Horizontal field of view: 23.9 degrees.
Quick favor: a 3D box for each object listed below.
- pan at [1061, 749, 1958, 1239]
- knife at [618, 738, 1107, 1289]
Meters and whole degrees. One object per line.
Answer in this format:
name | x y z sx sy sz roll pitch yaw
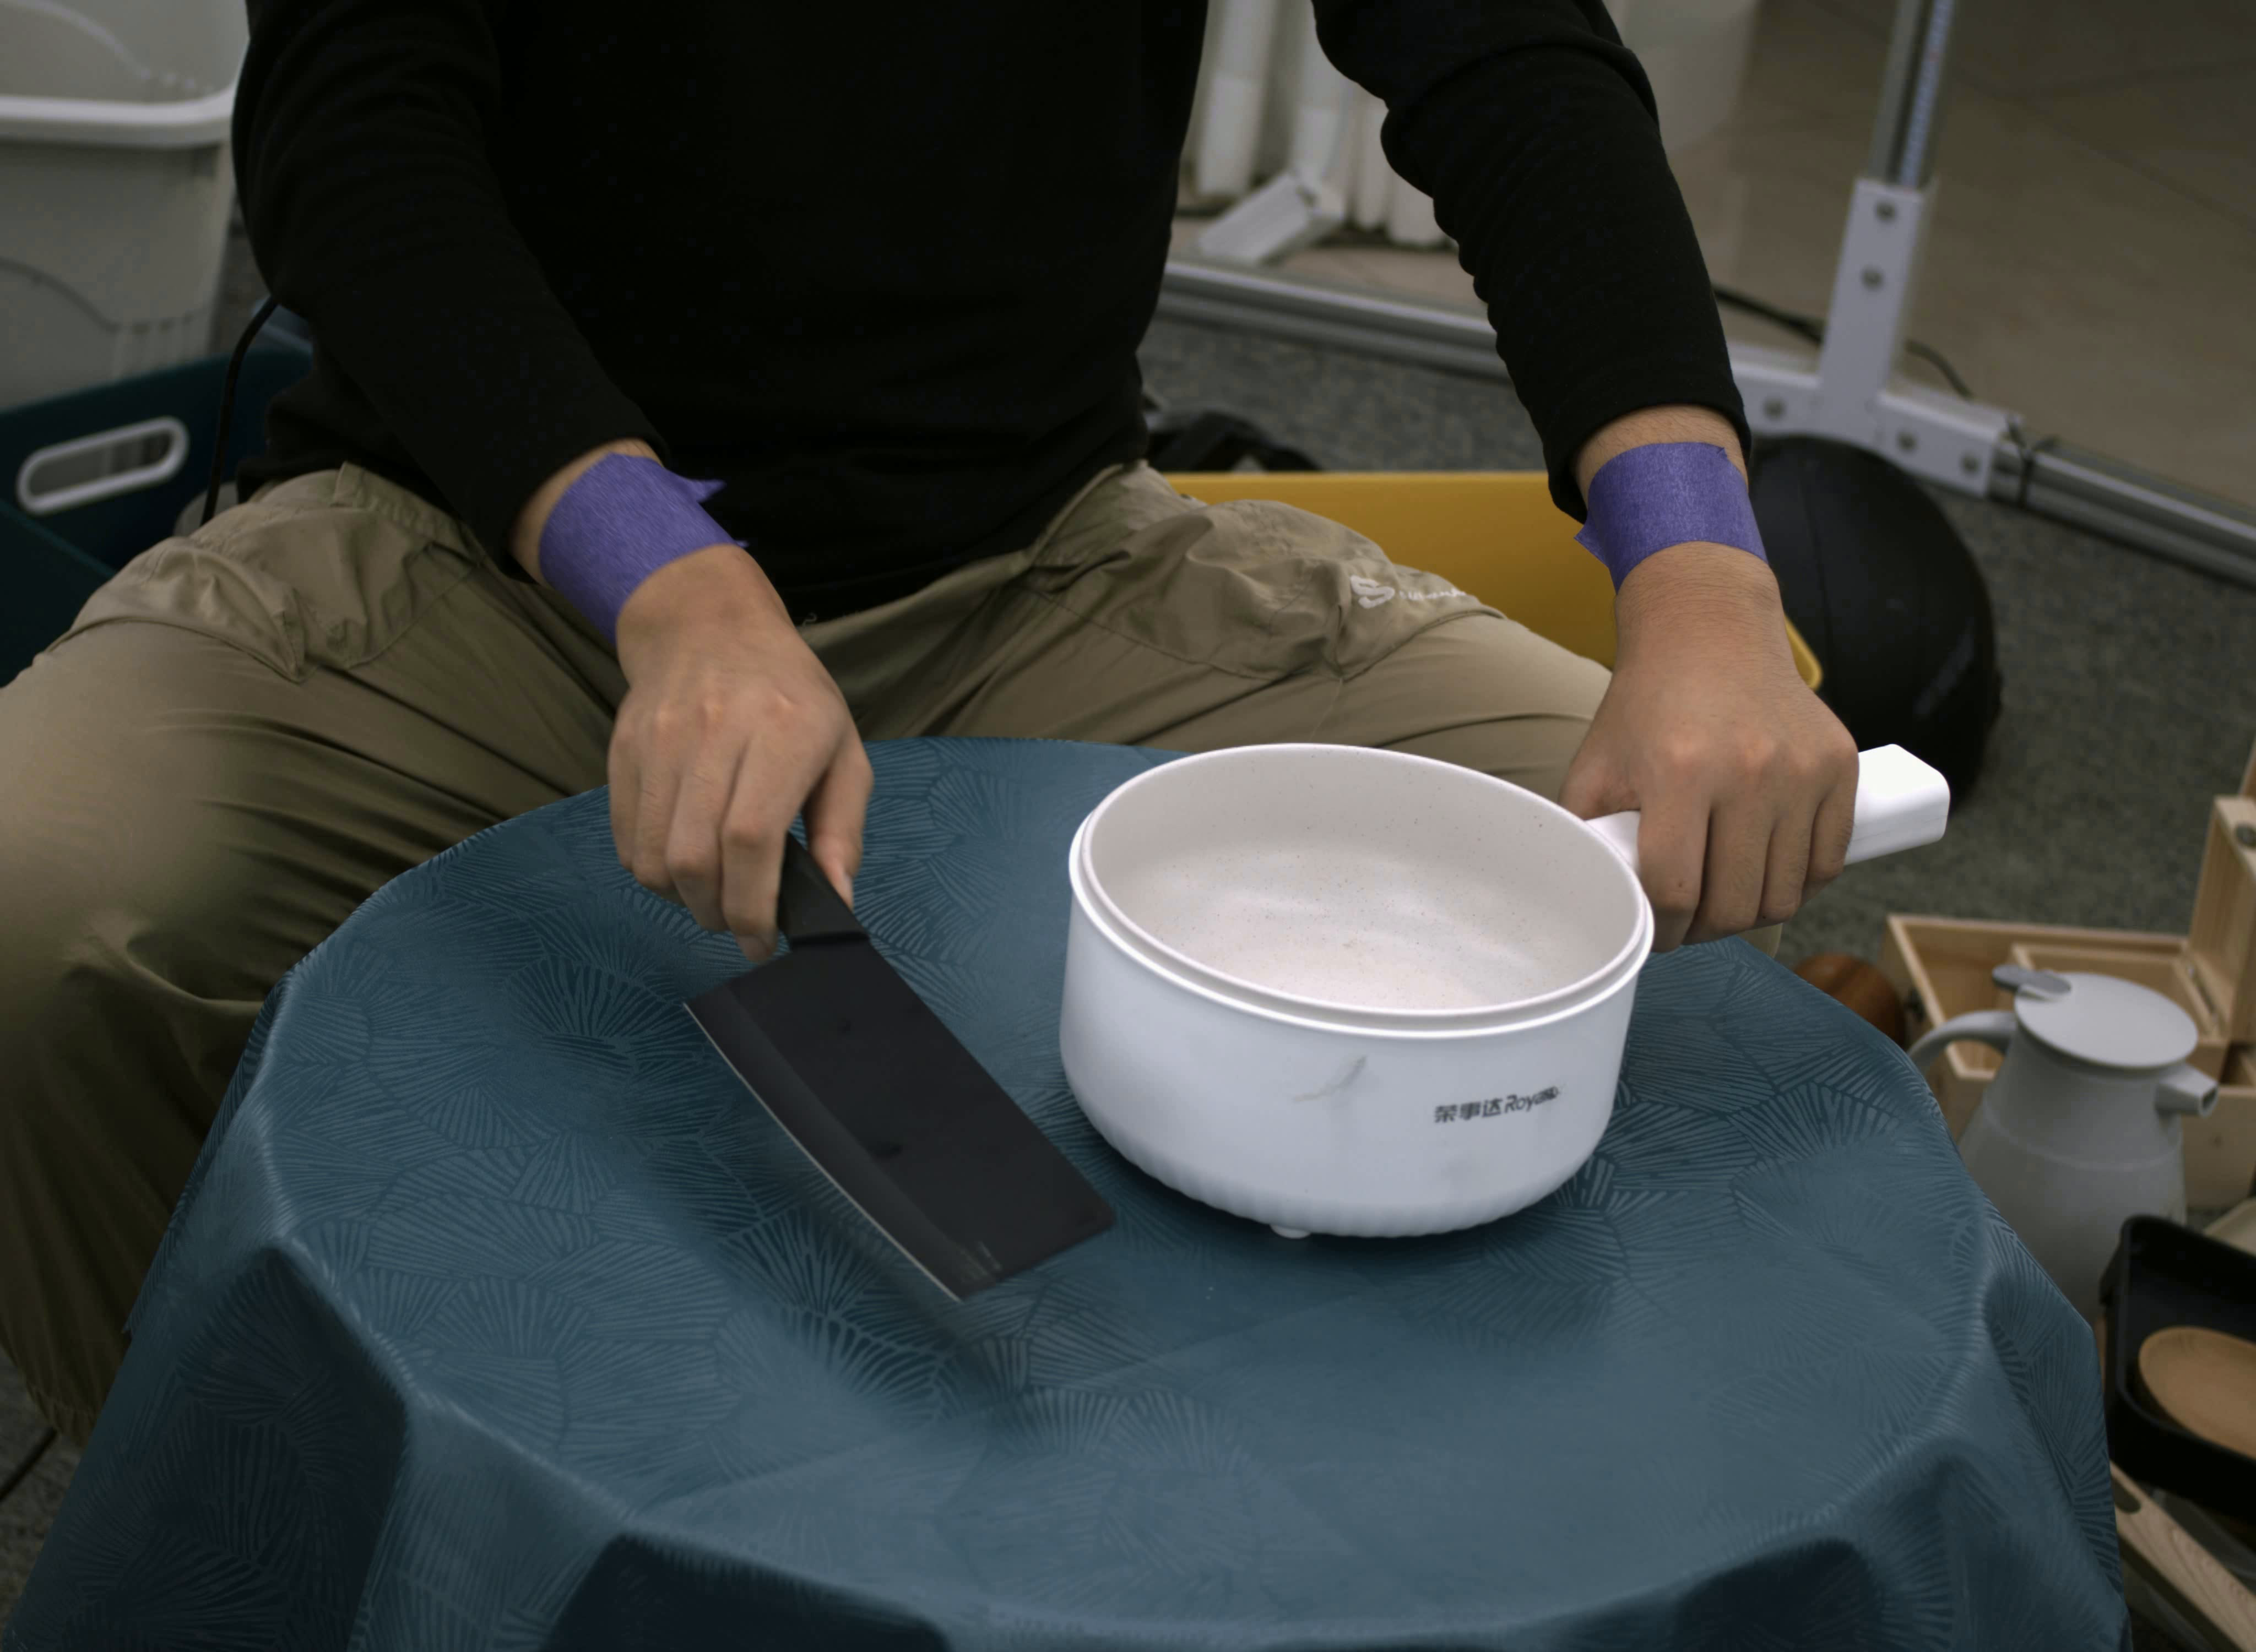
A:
pan | 0.139 0.050 1.877 0.352 0.102 0.203 -10 30 -32
knife | -0.103 0.057 1.776 0.080 0.021 0.305 -22 41 -15
